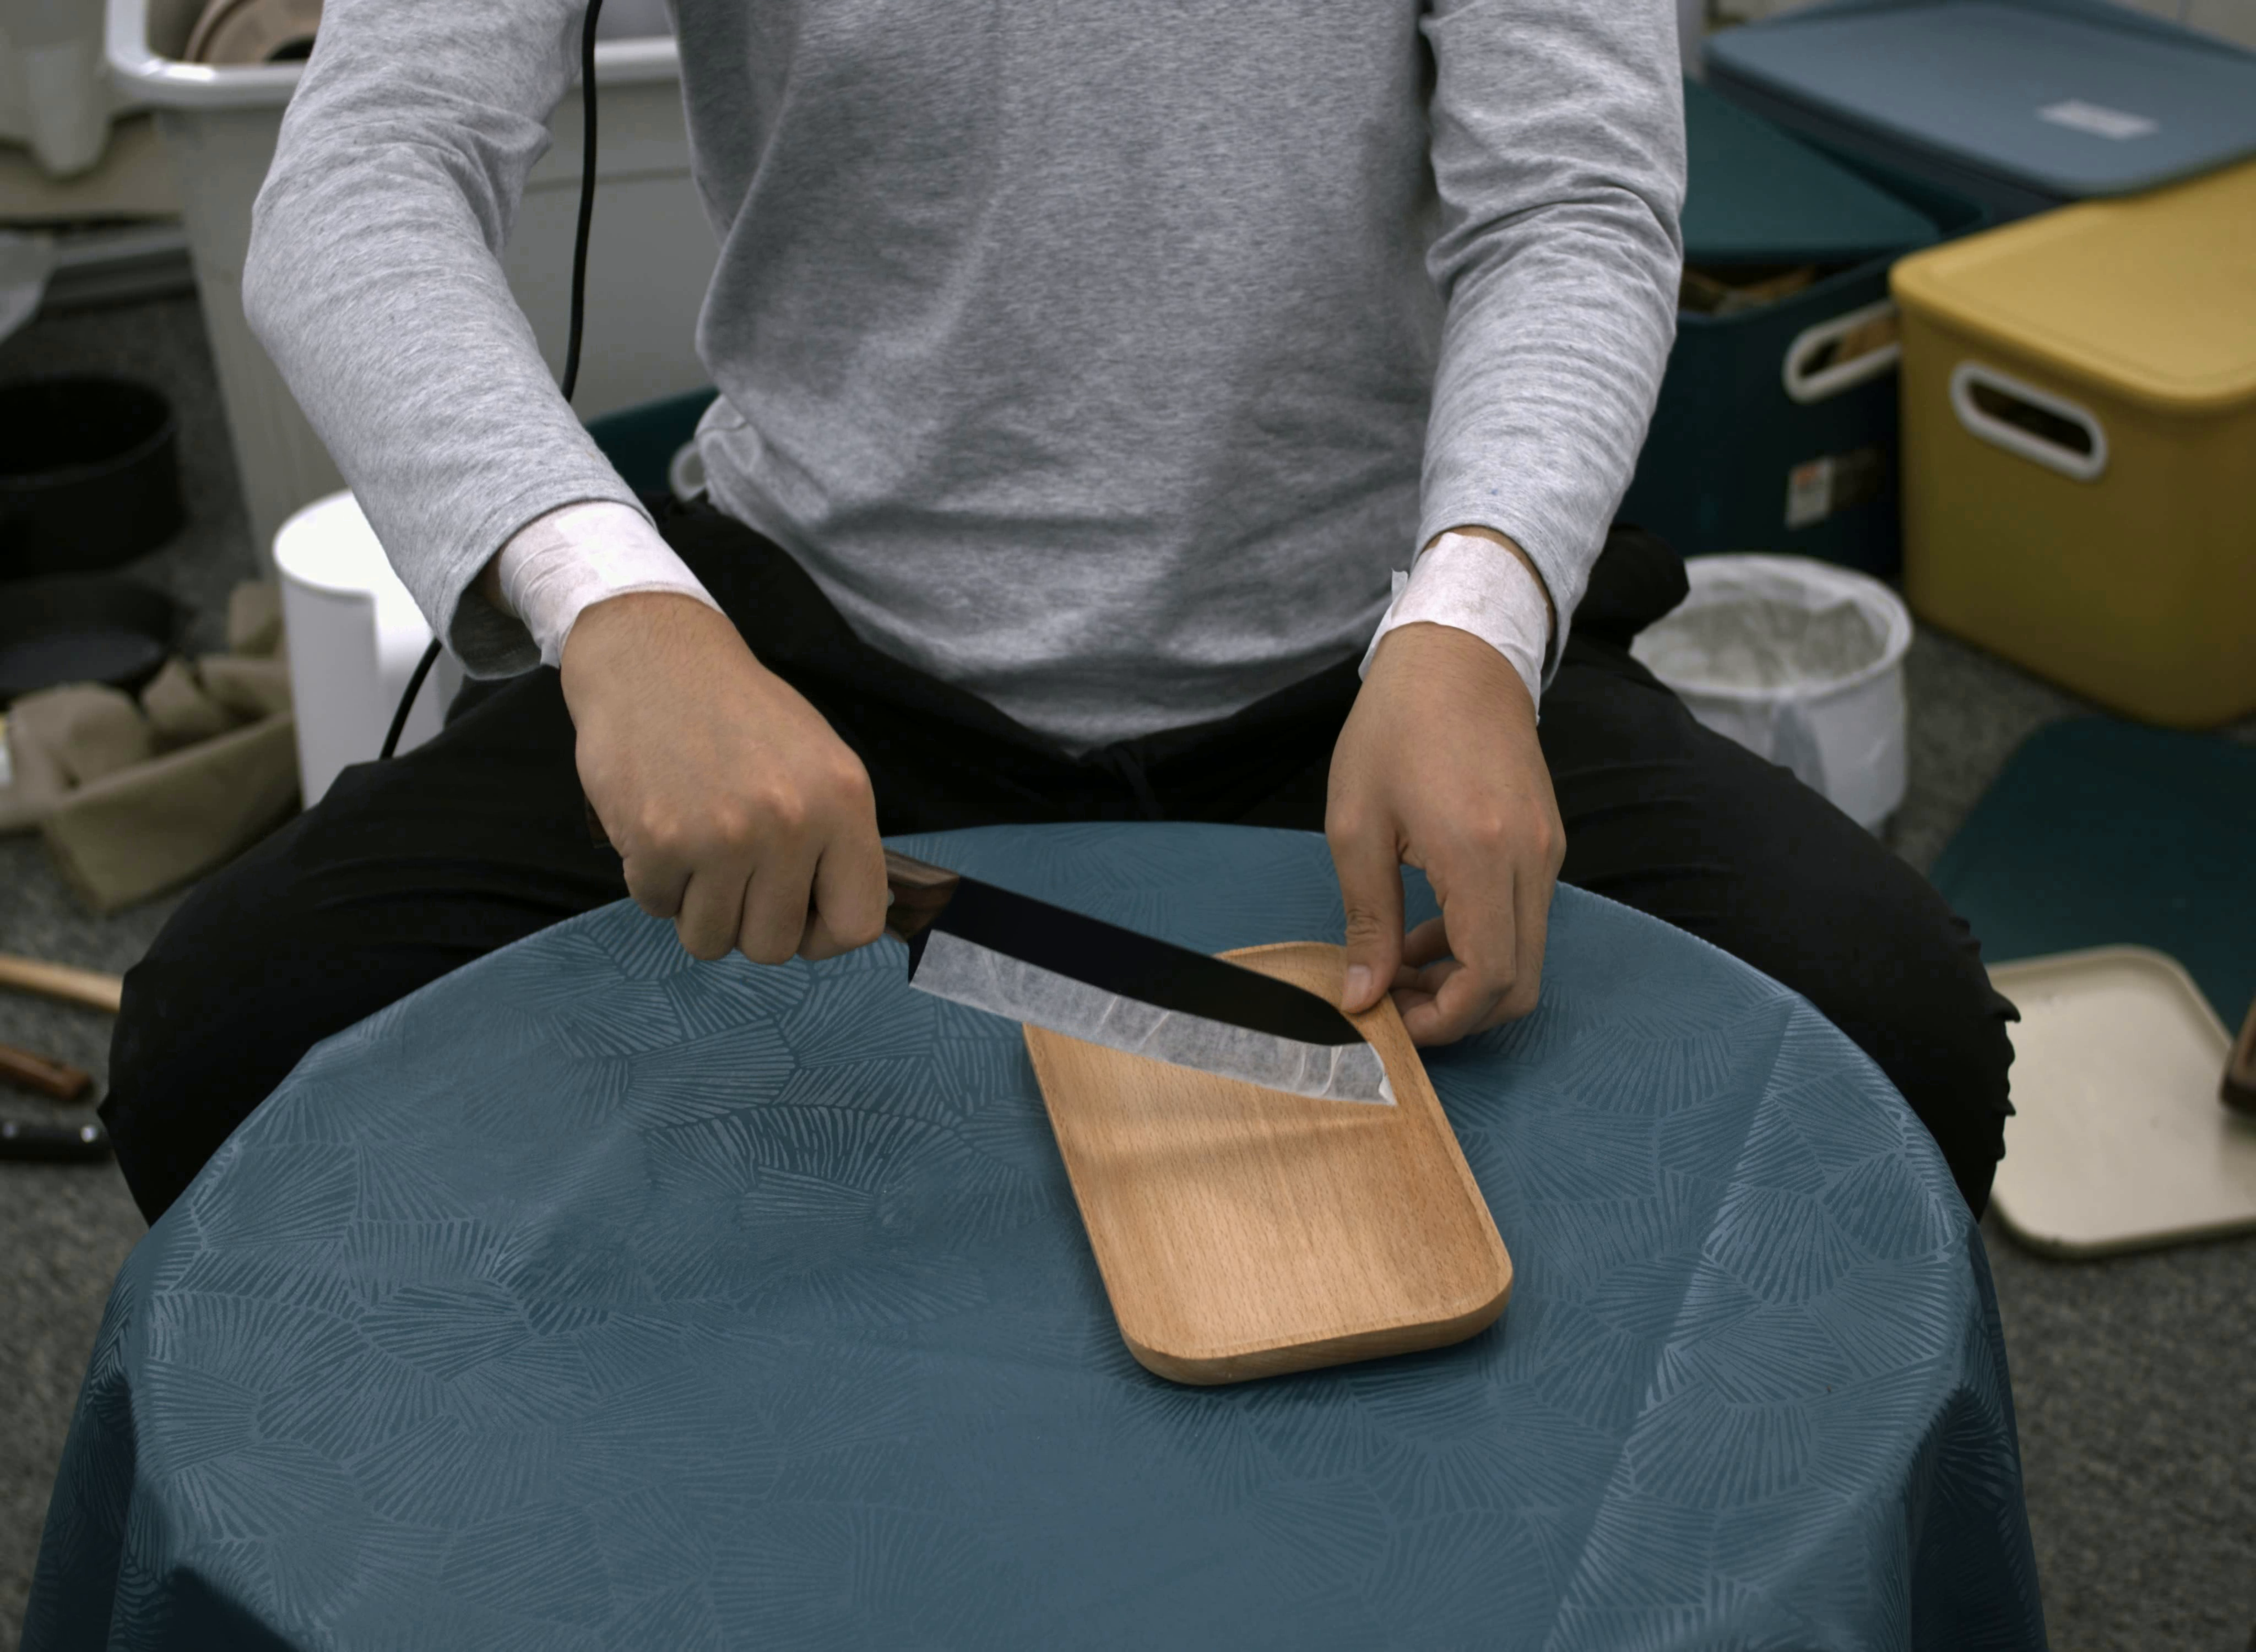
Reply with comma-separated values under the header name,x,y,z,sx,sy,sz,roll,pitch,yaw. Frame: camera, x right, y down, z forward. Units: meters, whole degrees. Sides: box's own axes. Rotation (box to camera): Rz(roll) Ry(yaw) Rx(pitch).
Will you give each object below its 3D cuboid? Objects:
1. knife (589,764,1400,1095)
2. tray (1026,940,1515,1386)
name,x,y,z,sx,sy,sz,roll,pitch,yaw
knife,-0.043,0.036,1.854,0.288,0.050,0.020,20,22,-6
tray,0.043,0.109,1.861,0.130,0.022,0.254,-6,27,-7
